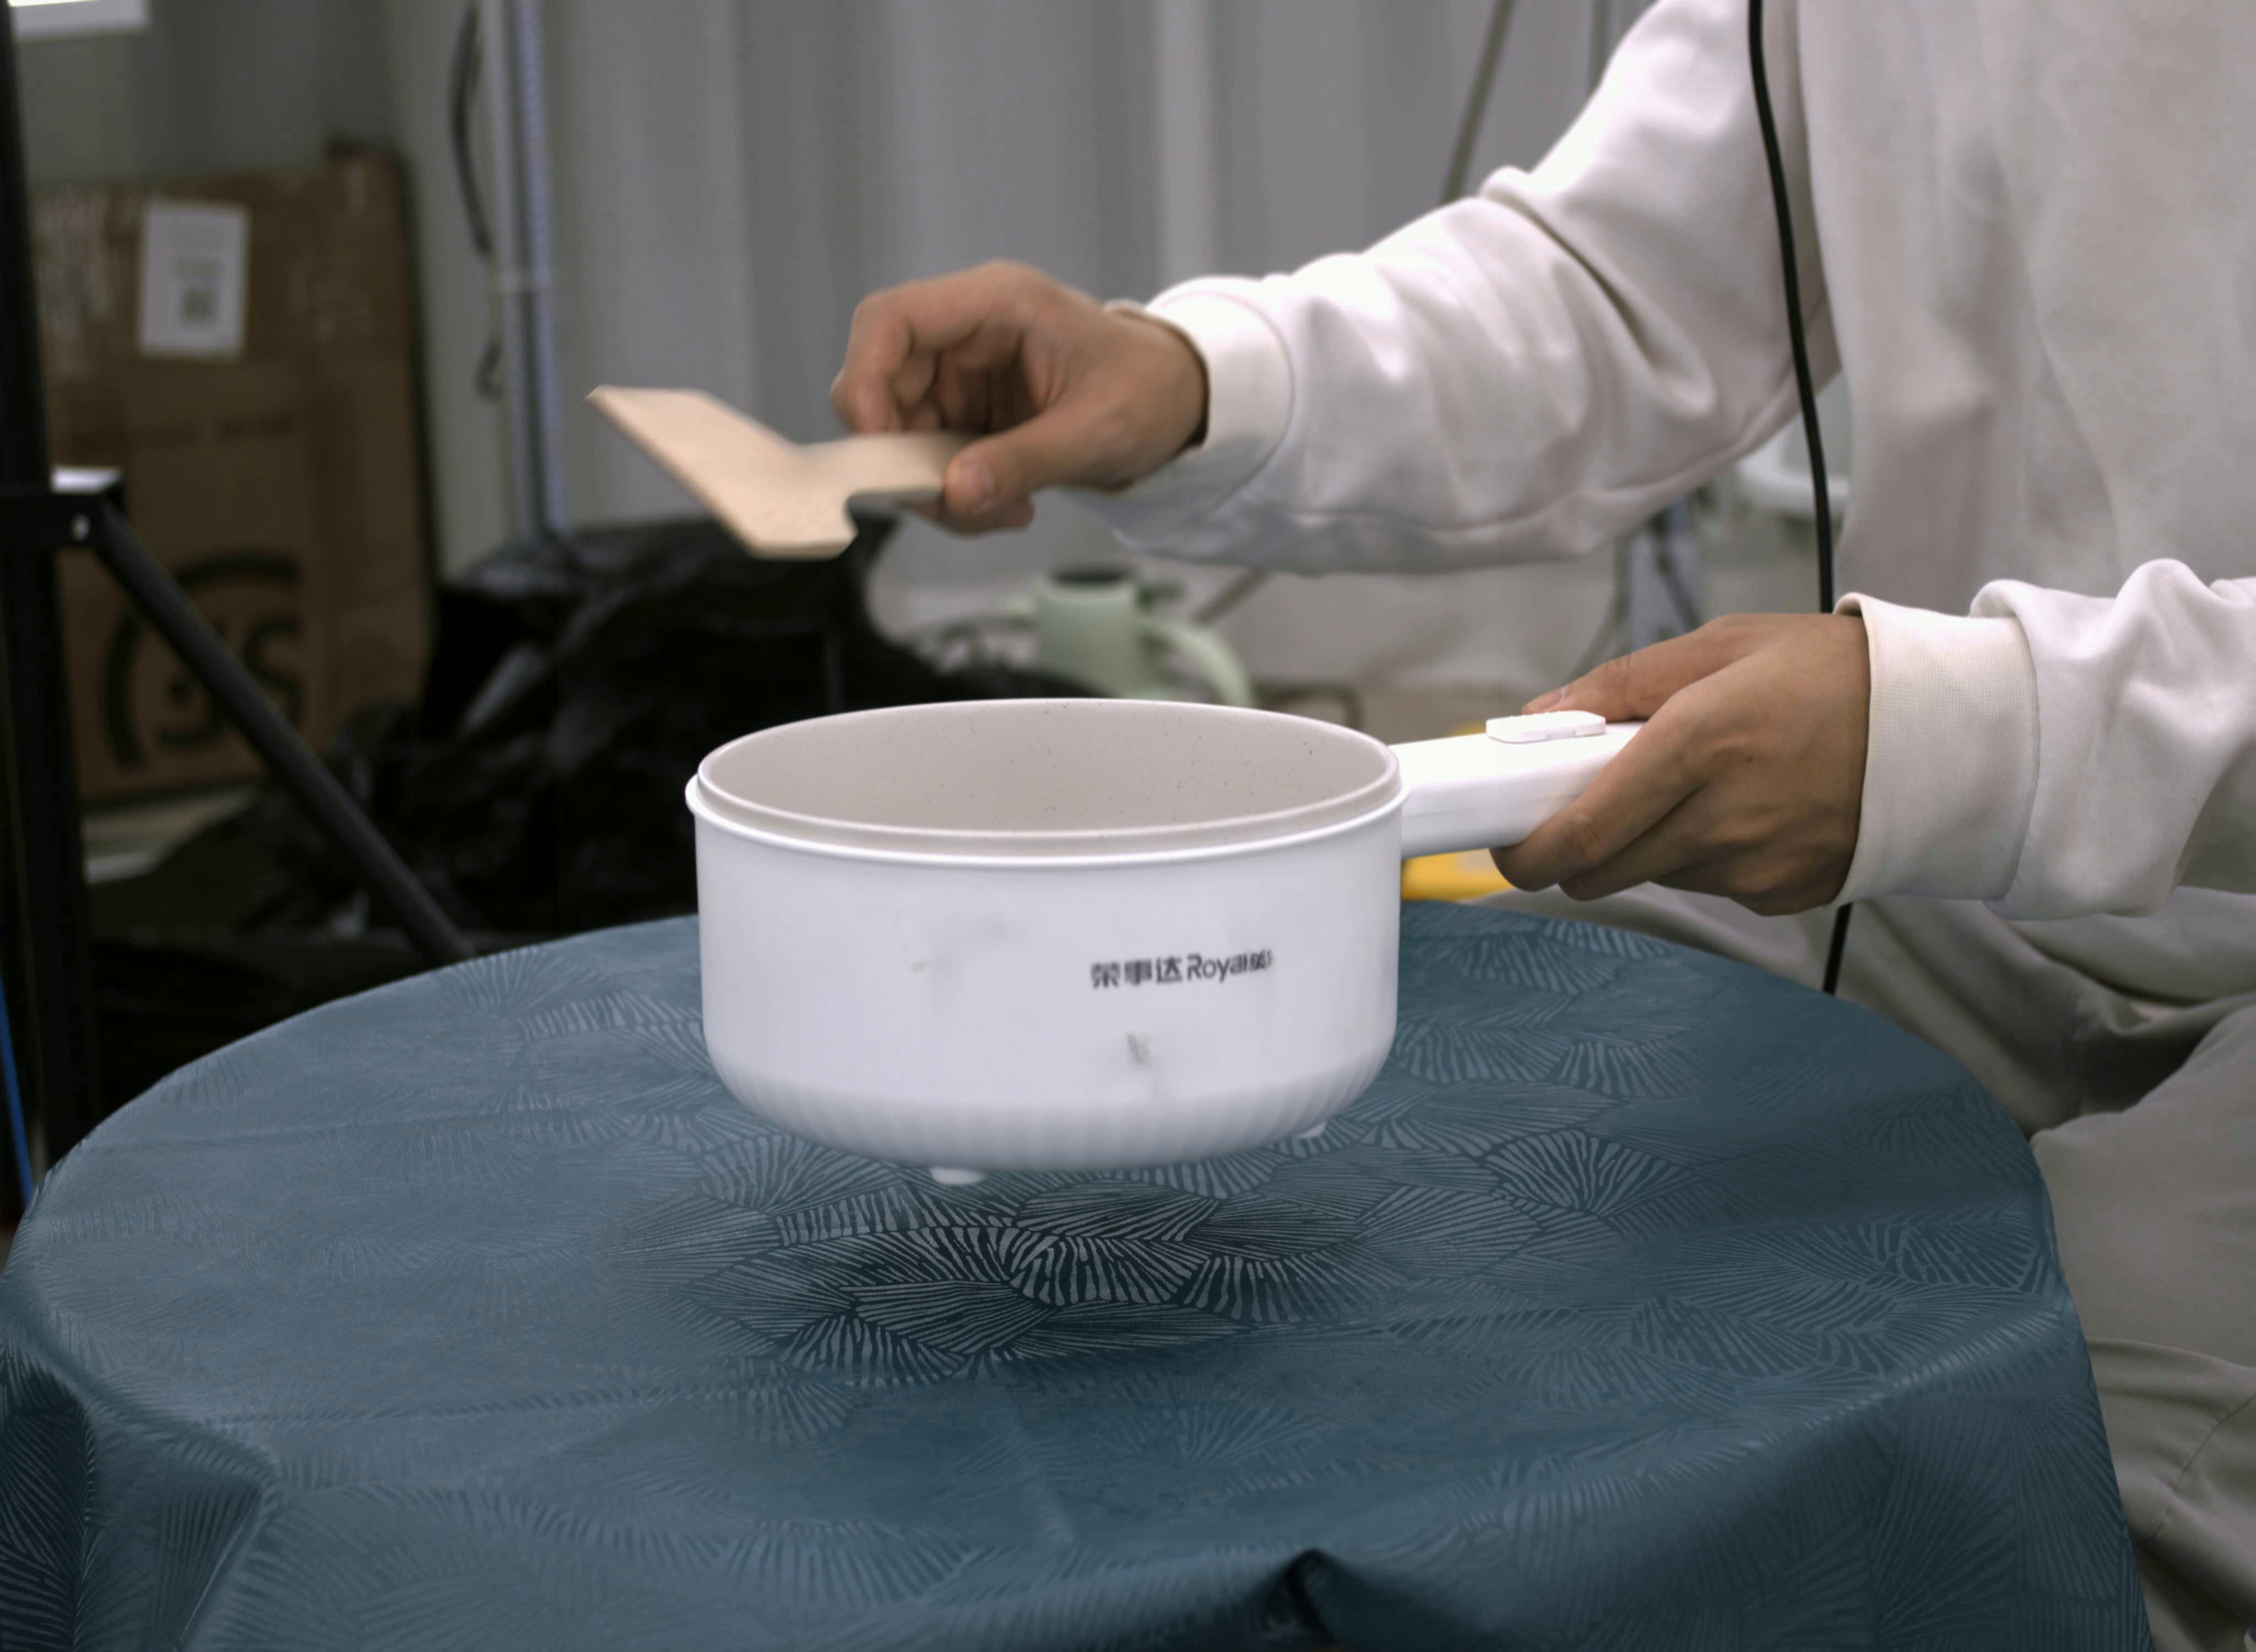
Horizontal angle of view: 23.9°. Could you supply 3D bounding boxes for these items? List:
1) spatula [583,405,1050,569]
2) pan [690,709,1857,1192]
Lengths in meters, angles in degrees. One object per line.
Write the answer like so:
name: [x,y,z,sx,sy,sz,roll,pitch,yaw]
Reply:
spatula: [-0.086,-0.107,1.664,0.073,0.011,0.288,40,16,13]
pan: [0.047,0.028,1.510,0.347,0.102,0.205,-5,11,-24]
